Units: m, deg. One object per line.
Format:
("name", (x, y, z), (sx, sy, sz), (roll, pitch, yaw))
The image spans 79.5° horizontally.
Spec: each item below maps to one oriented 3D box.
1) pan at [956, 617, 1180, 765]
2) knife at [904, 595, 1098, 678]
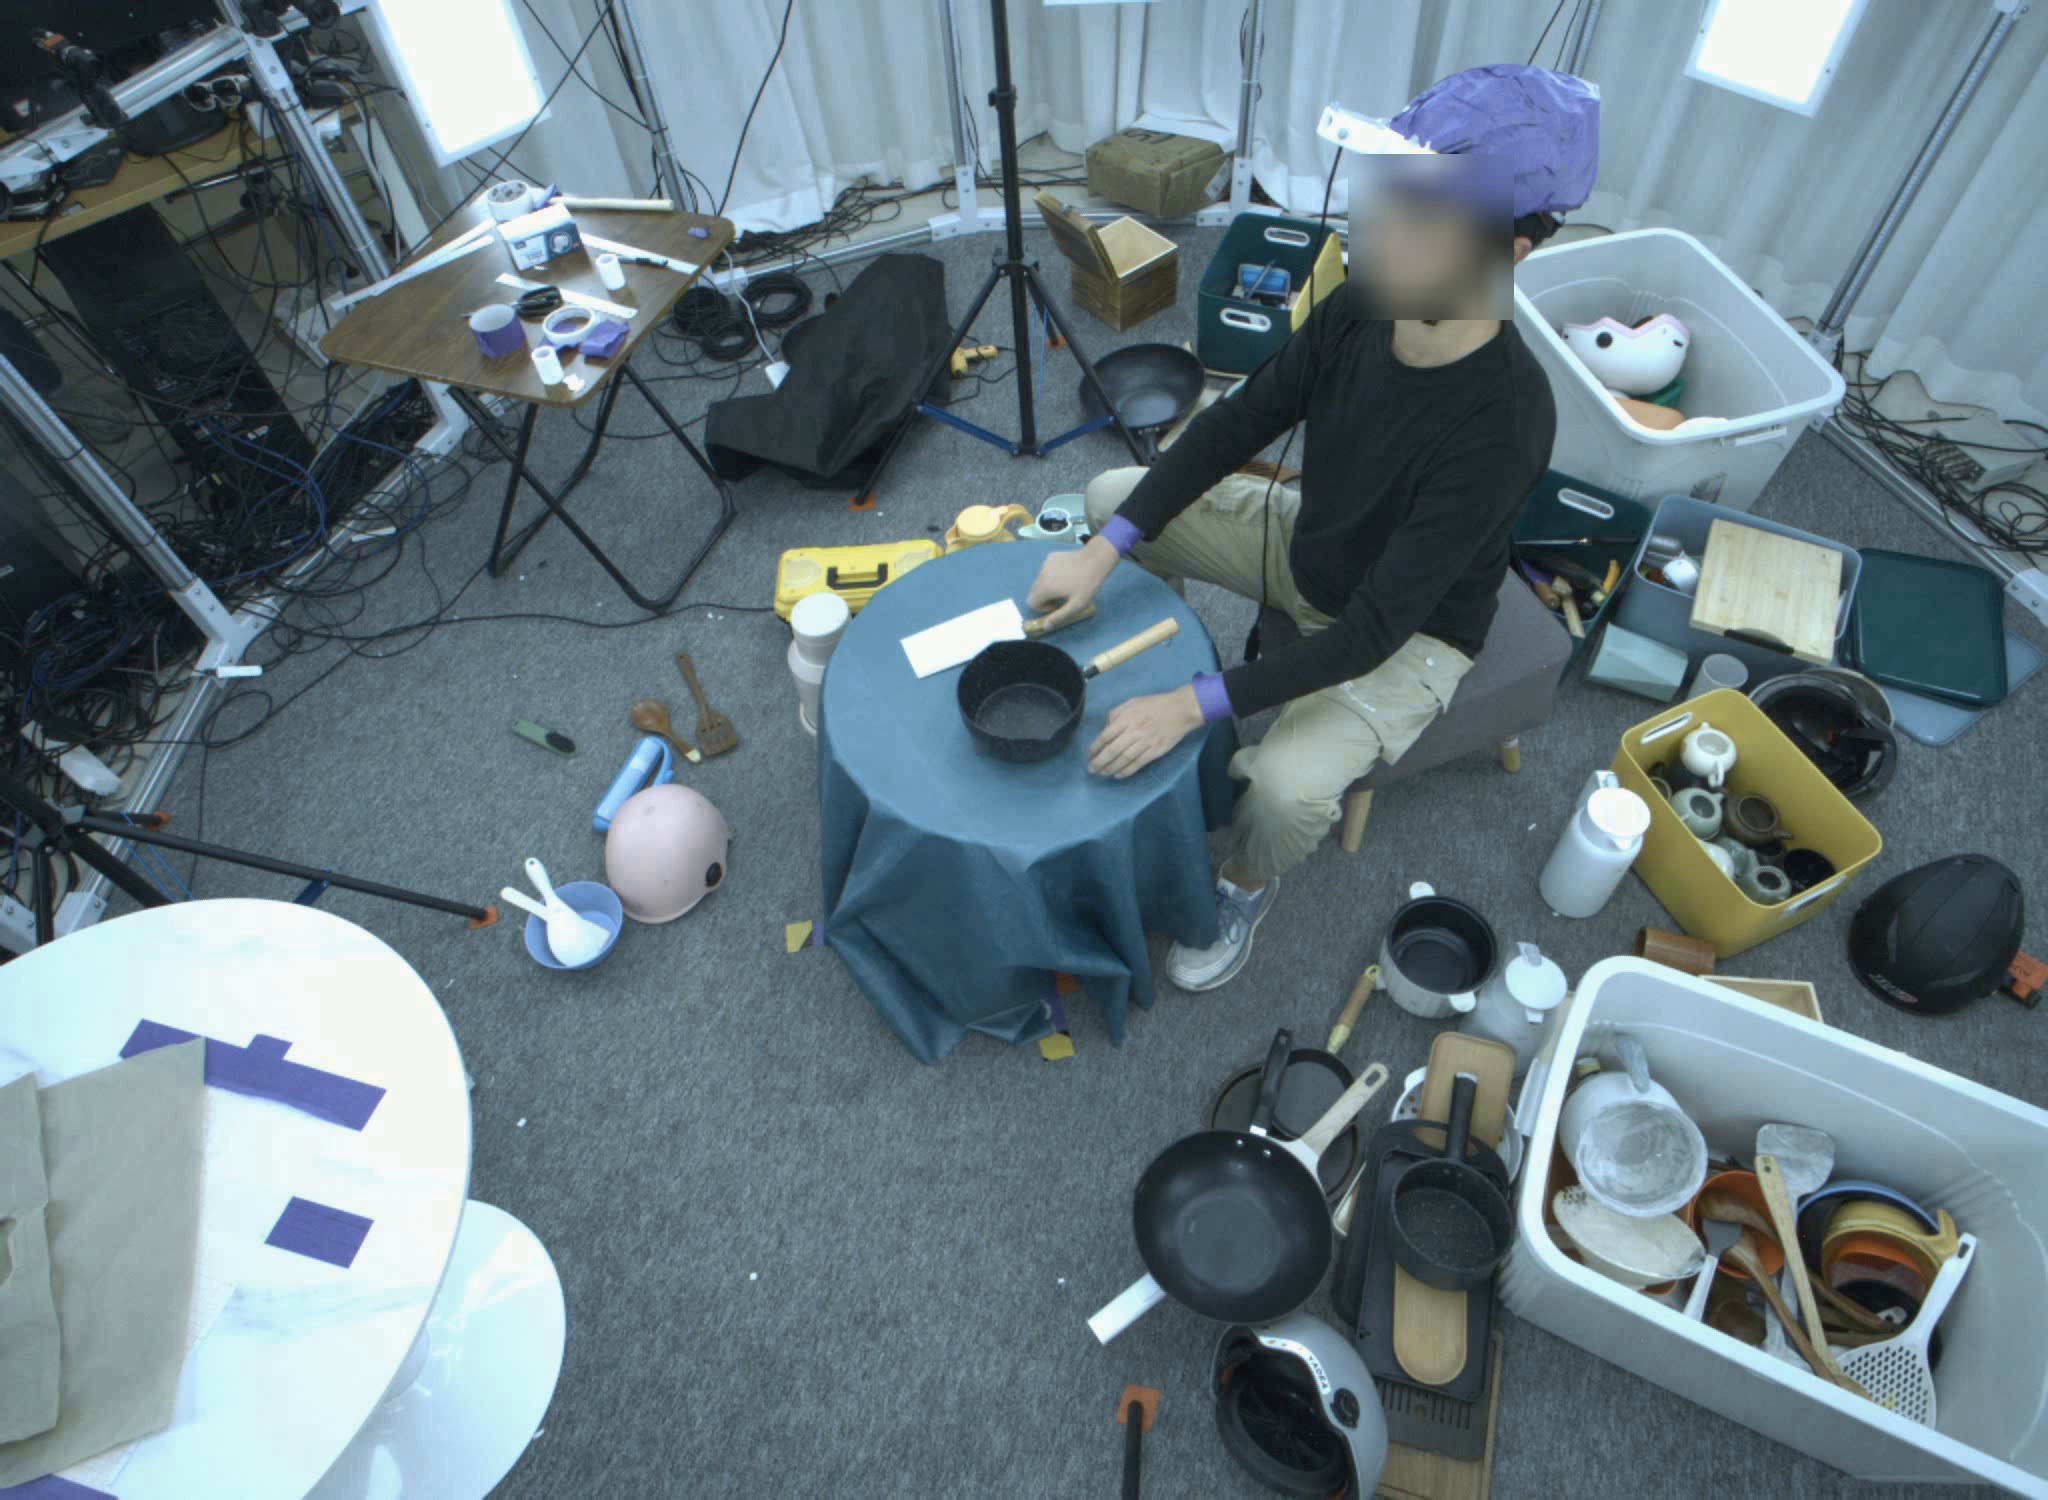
("pan", (0.069, -0.100, 1.787), (0.345, 0.109, 0.203), (-23, 56, -12))
("knife", (-0.039, -0.194, 1.914), (0.307, 0.021, 0.091), (-21, 55, -10))
